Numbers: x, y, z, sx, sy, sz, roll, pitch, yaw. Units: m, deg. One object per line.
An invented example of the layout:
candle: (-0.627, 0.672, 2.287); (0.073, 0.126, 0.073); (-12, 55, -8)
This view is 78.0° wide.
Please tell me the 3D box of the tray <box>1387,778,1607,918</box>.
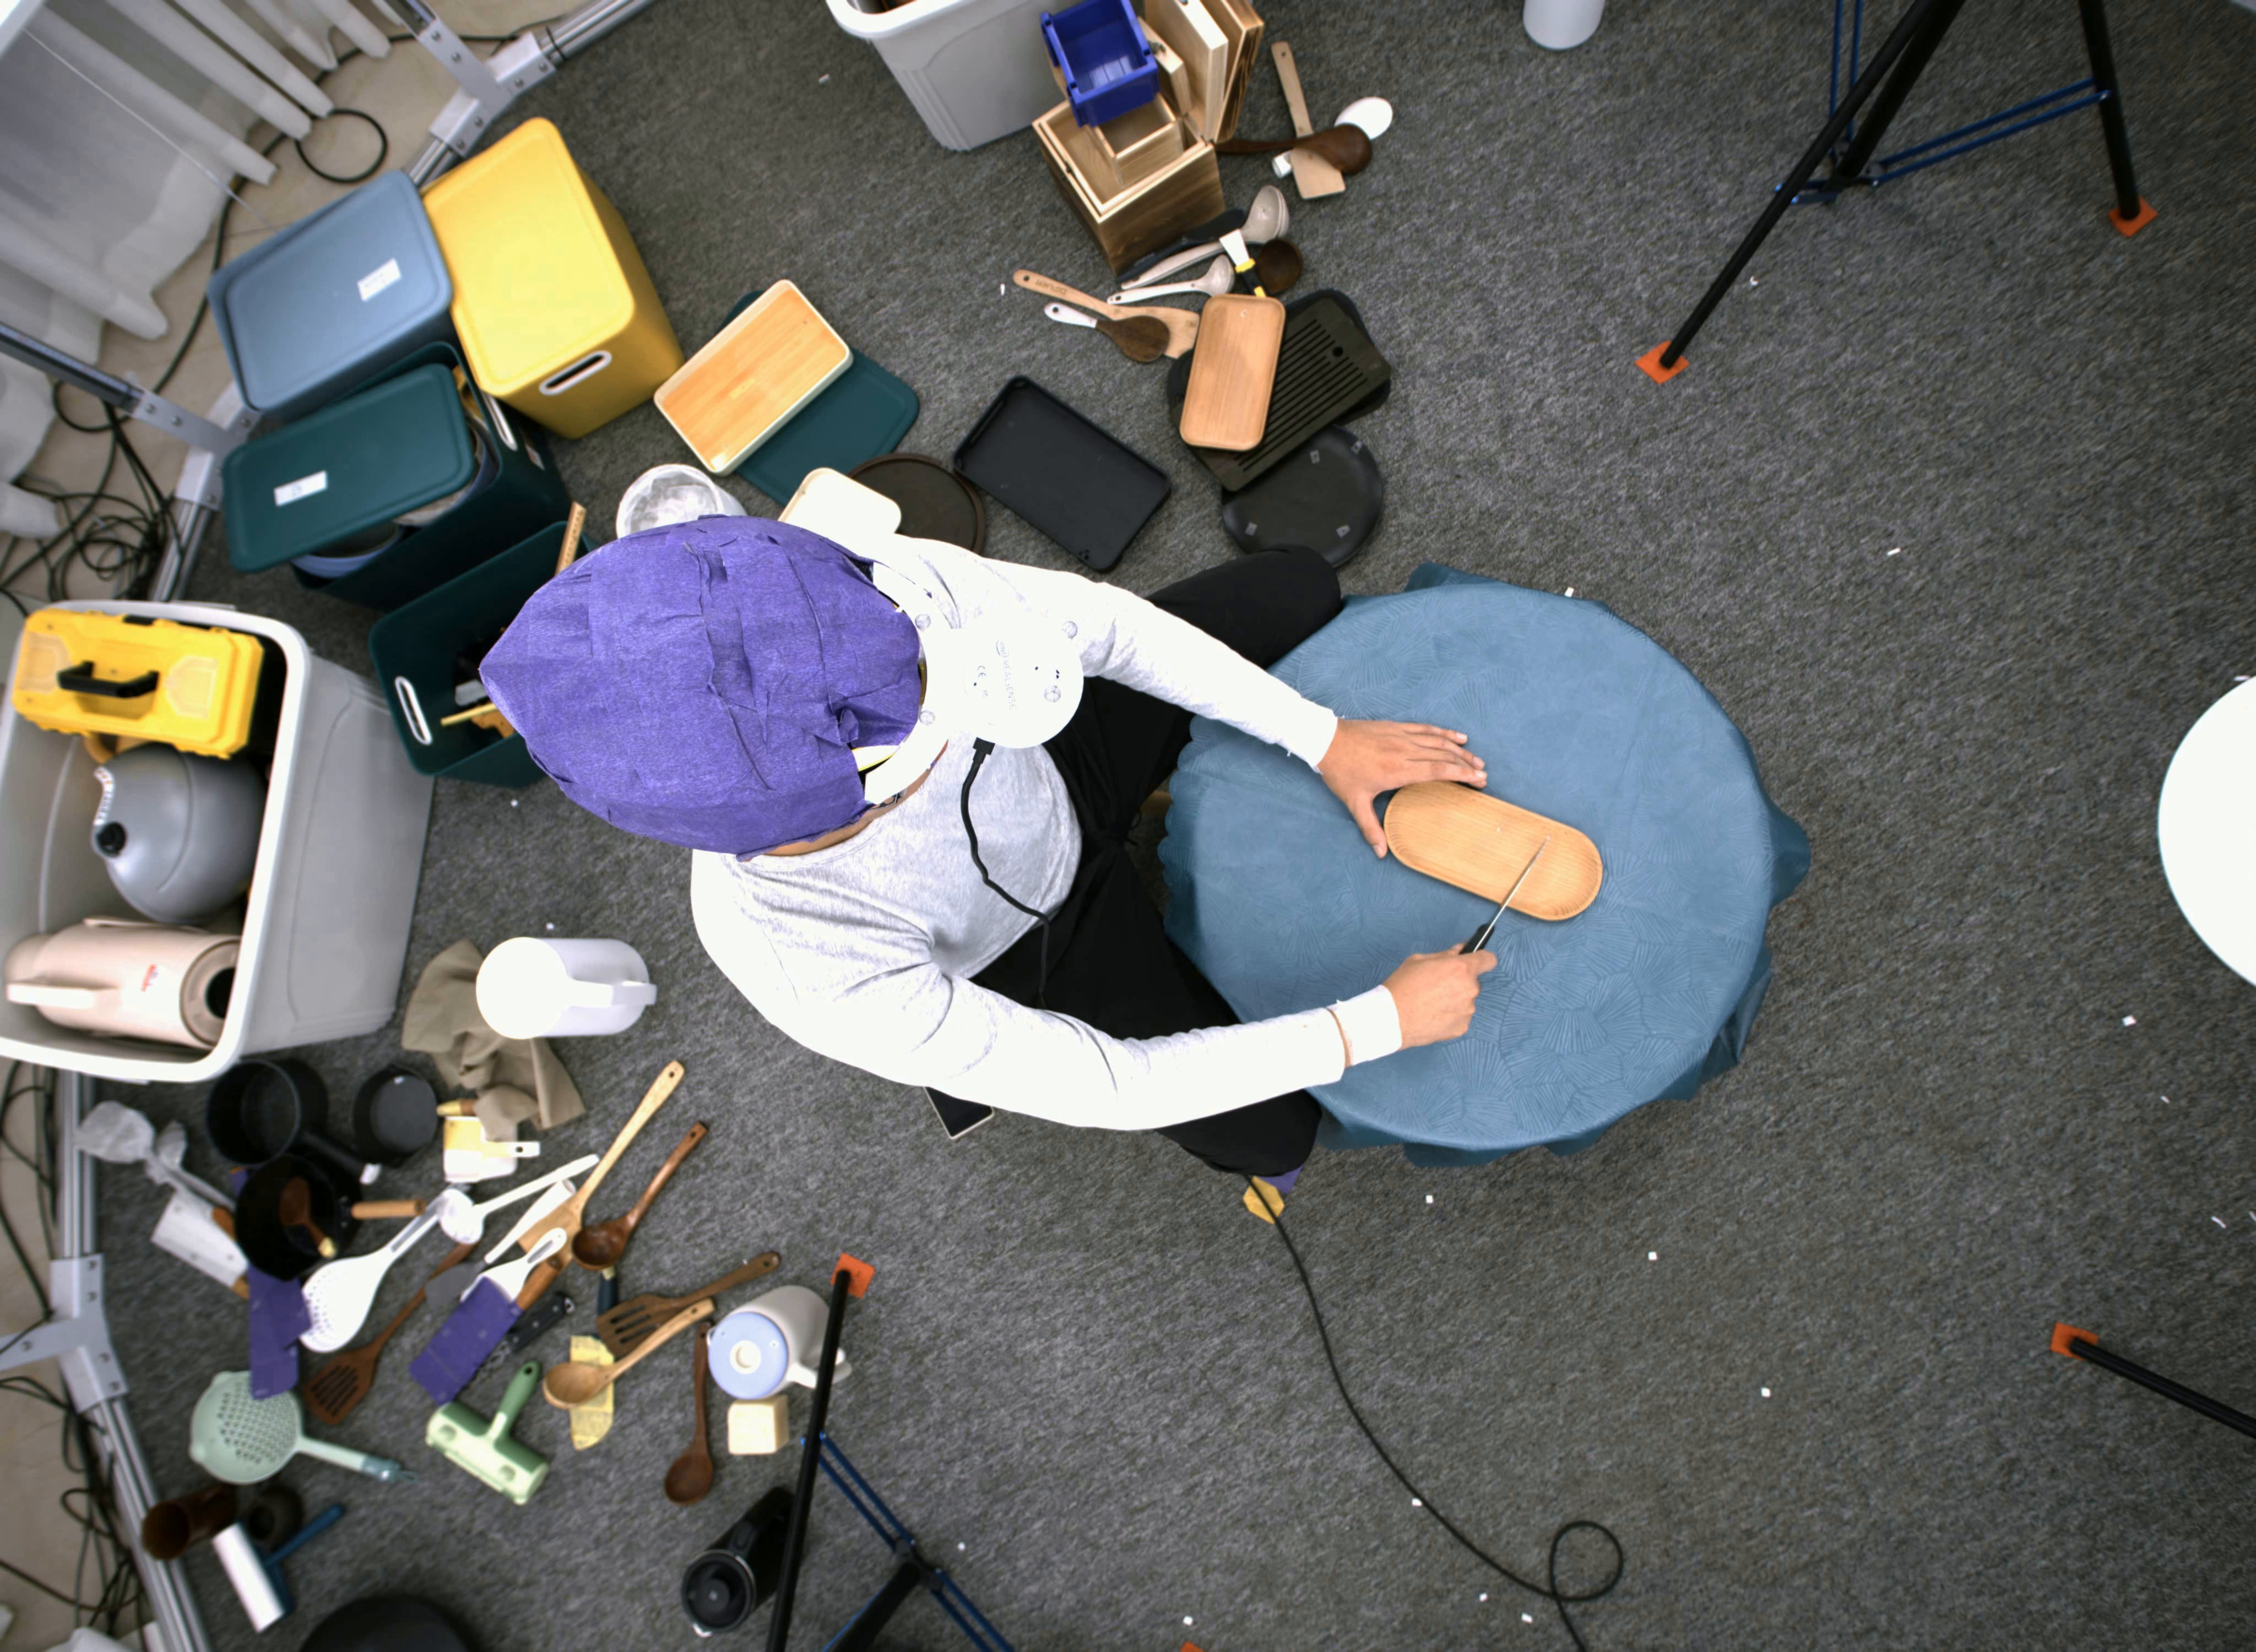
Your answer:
tray: (0.384, 0.021, 1.434); (0.231, 0.020, 0.102); (20, 93, 9)

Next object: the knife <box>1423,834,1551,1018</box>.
knife: (0.367, 0.094, 1.388); (0.016, 0.025, 0.235); (37, 76, 6)
